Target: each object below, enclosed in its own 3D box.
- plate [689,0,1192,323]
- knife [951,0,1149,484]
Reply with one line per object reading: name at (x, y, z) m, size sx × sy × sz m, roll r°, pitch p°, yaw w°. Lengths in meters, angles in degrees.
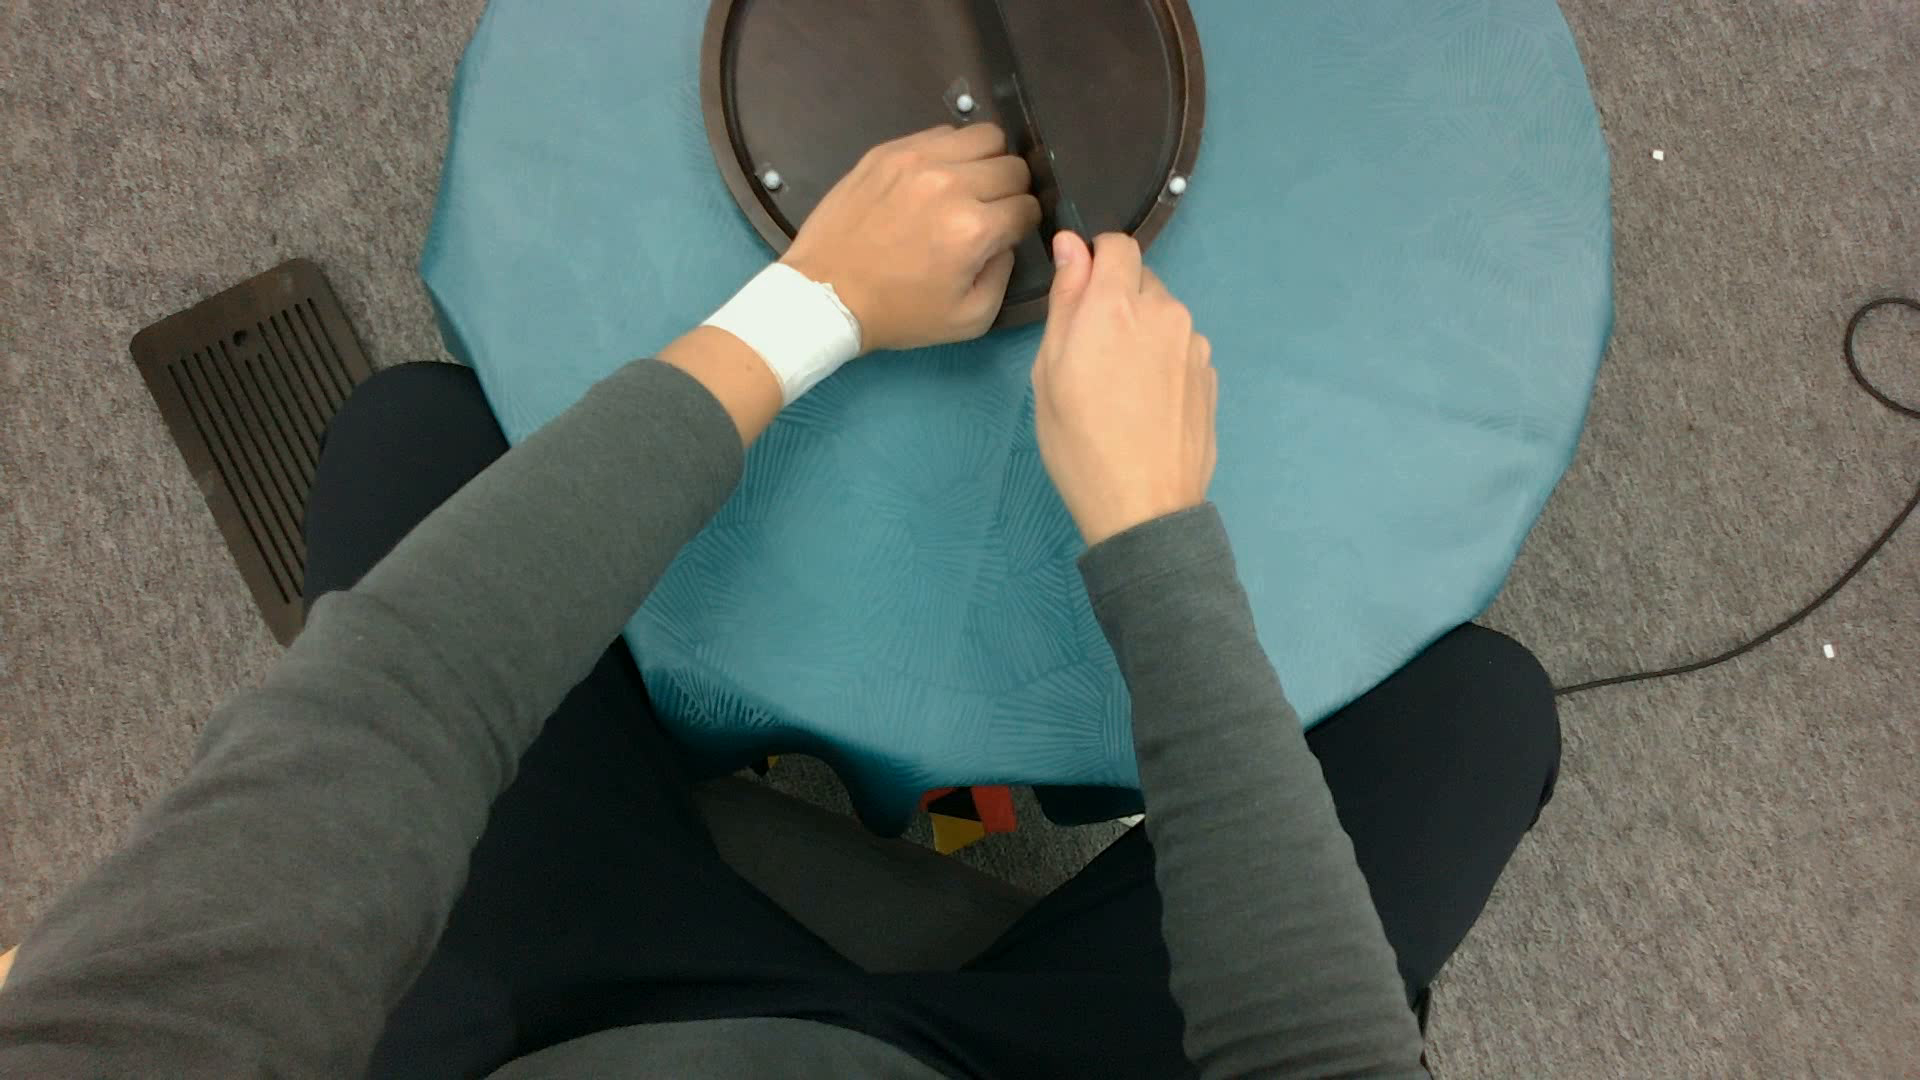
plate at (-0.008, -0.232, 0.697) m, size 0.255 × 0.029 × 0.255 m, roll 1°, pitch 83°, yaw -7°
knife at (0.030, -0.170, 0.639) m, size 0.021 × 0.081 × 0.302 m, roll -18°, pitch 82°, yaw -7°
